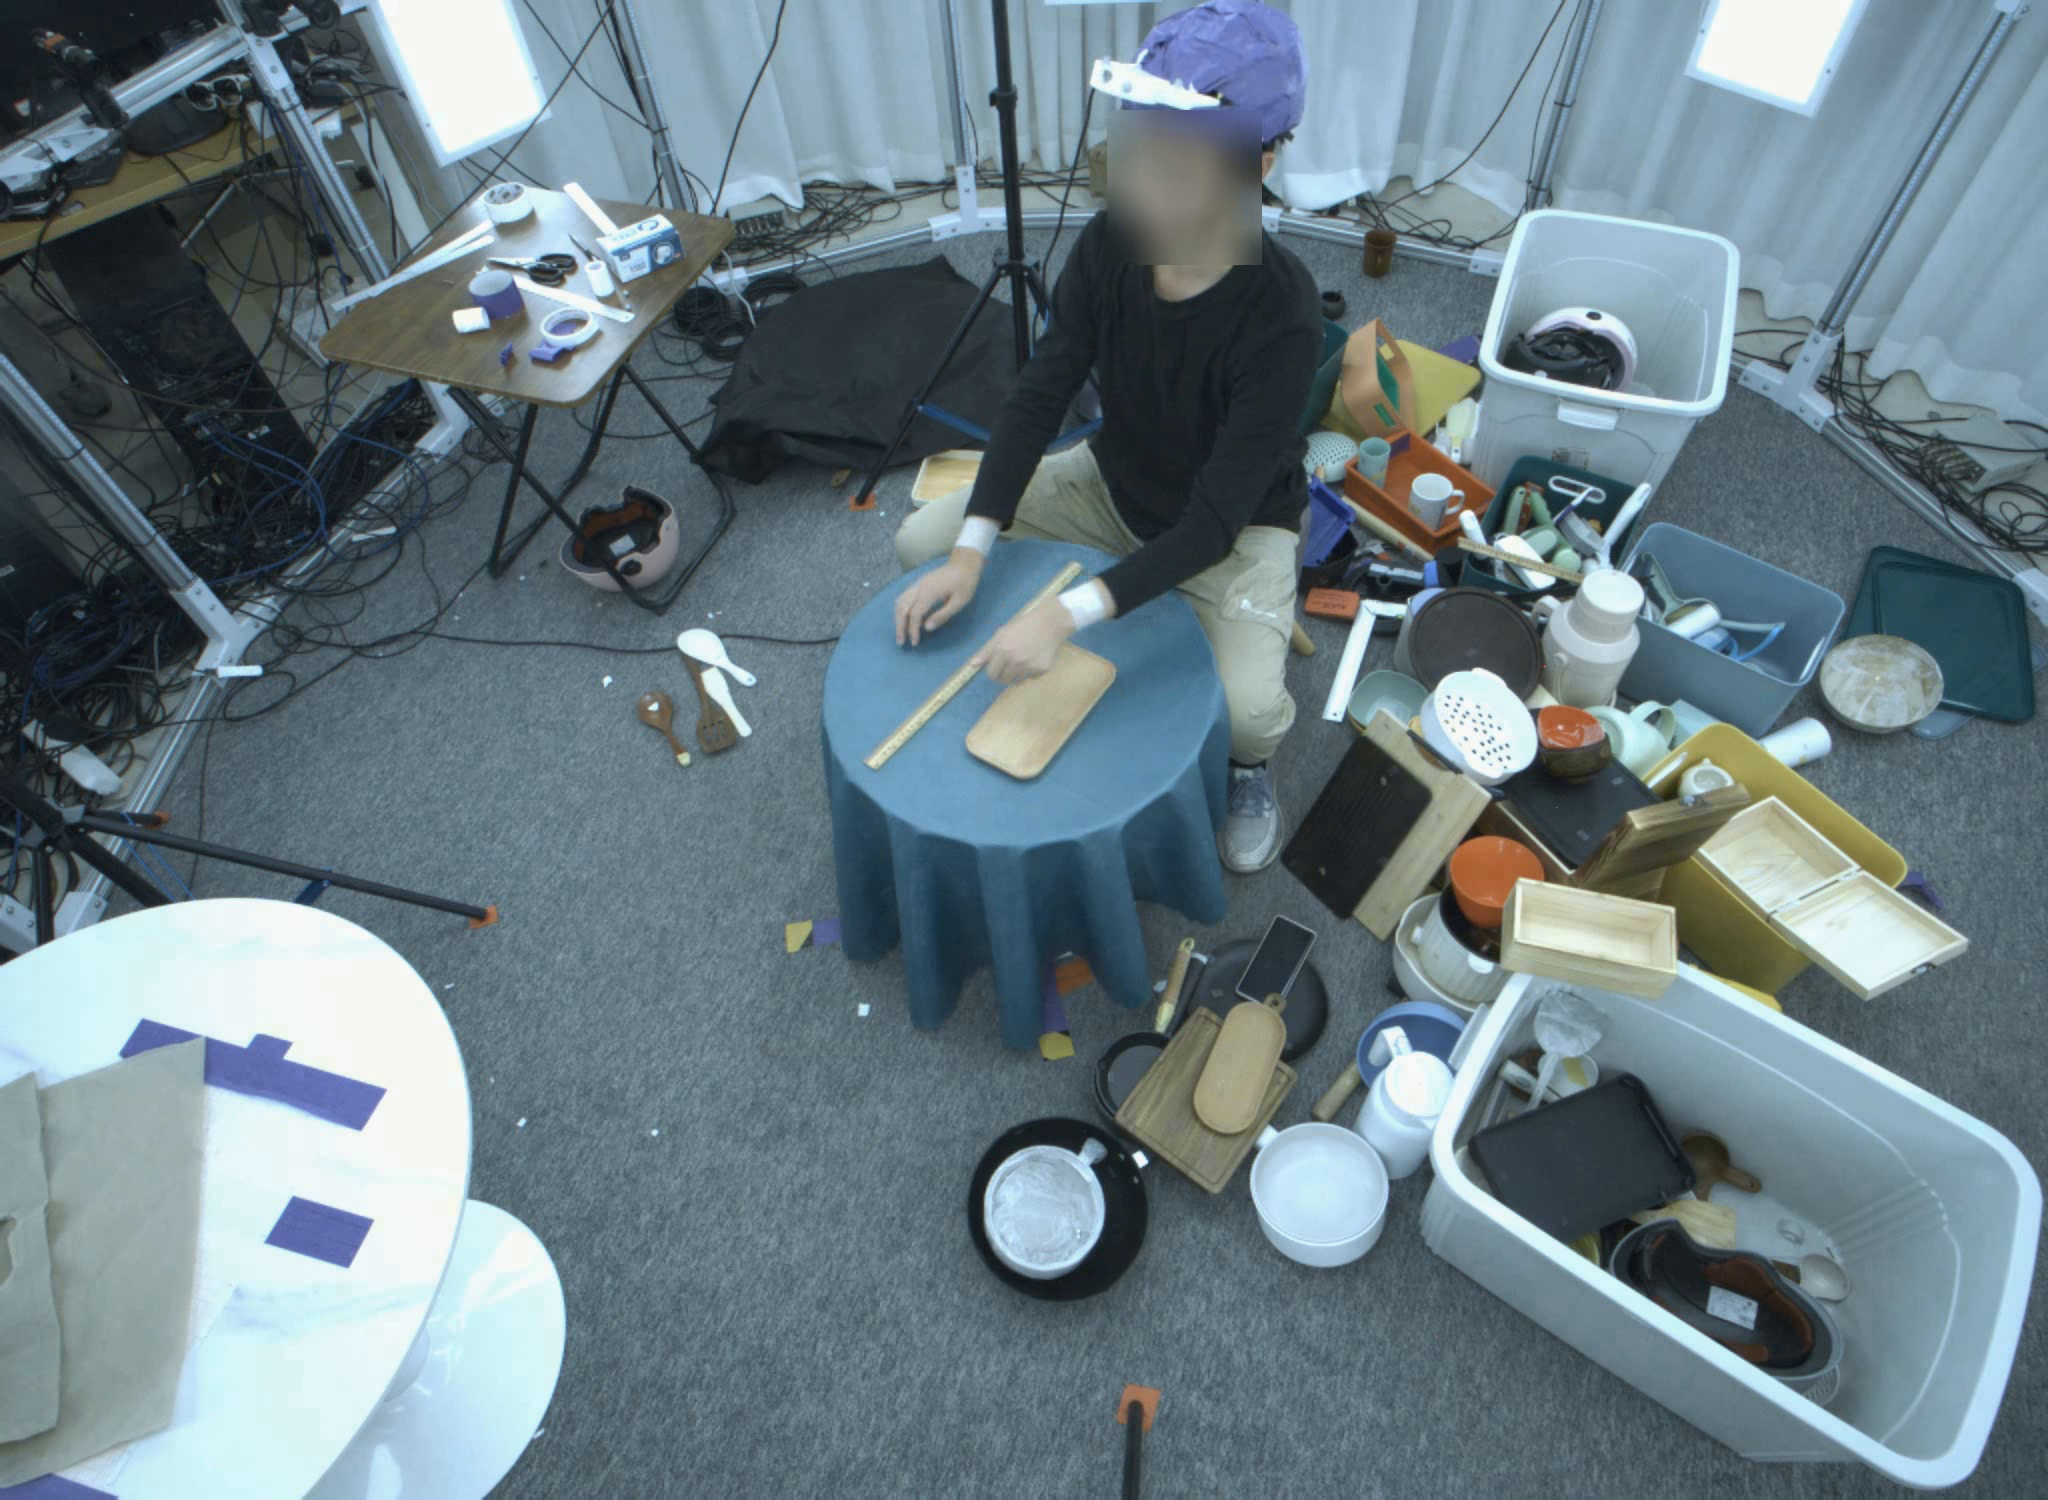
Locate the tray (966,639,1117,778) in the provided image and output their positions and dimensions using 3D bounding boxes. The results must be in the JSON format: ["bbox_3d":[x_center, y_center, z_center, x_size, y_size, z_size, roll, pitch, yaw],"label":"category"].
[{"bbox_3d":[0.028,-0.063,1.822,0.129,0.023,0.252,30,60,19],"label":"tray"}]

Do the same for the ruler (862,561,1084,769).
[{"bbox_3d":[-0.069,-0.140,1.886,0.026,0.006,0.503,33,62,21],"label":"ruler"}]
